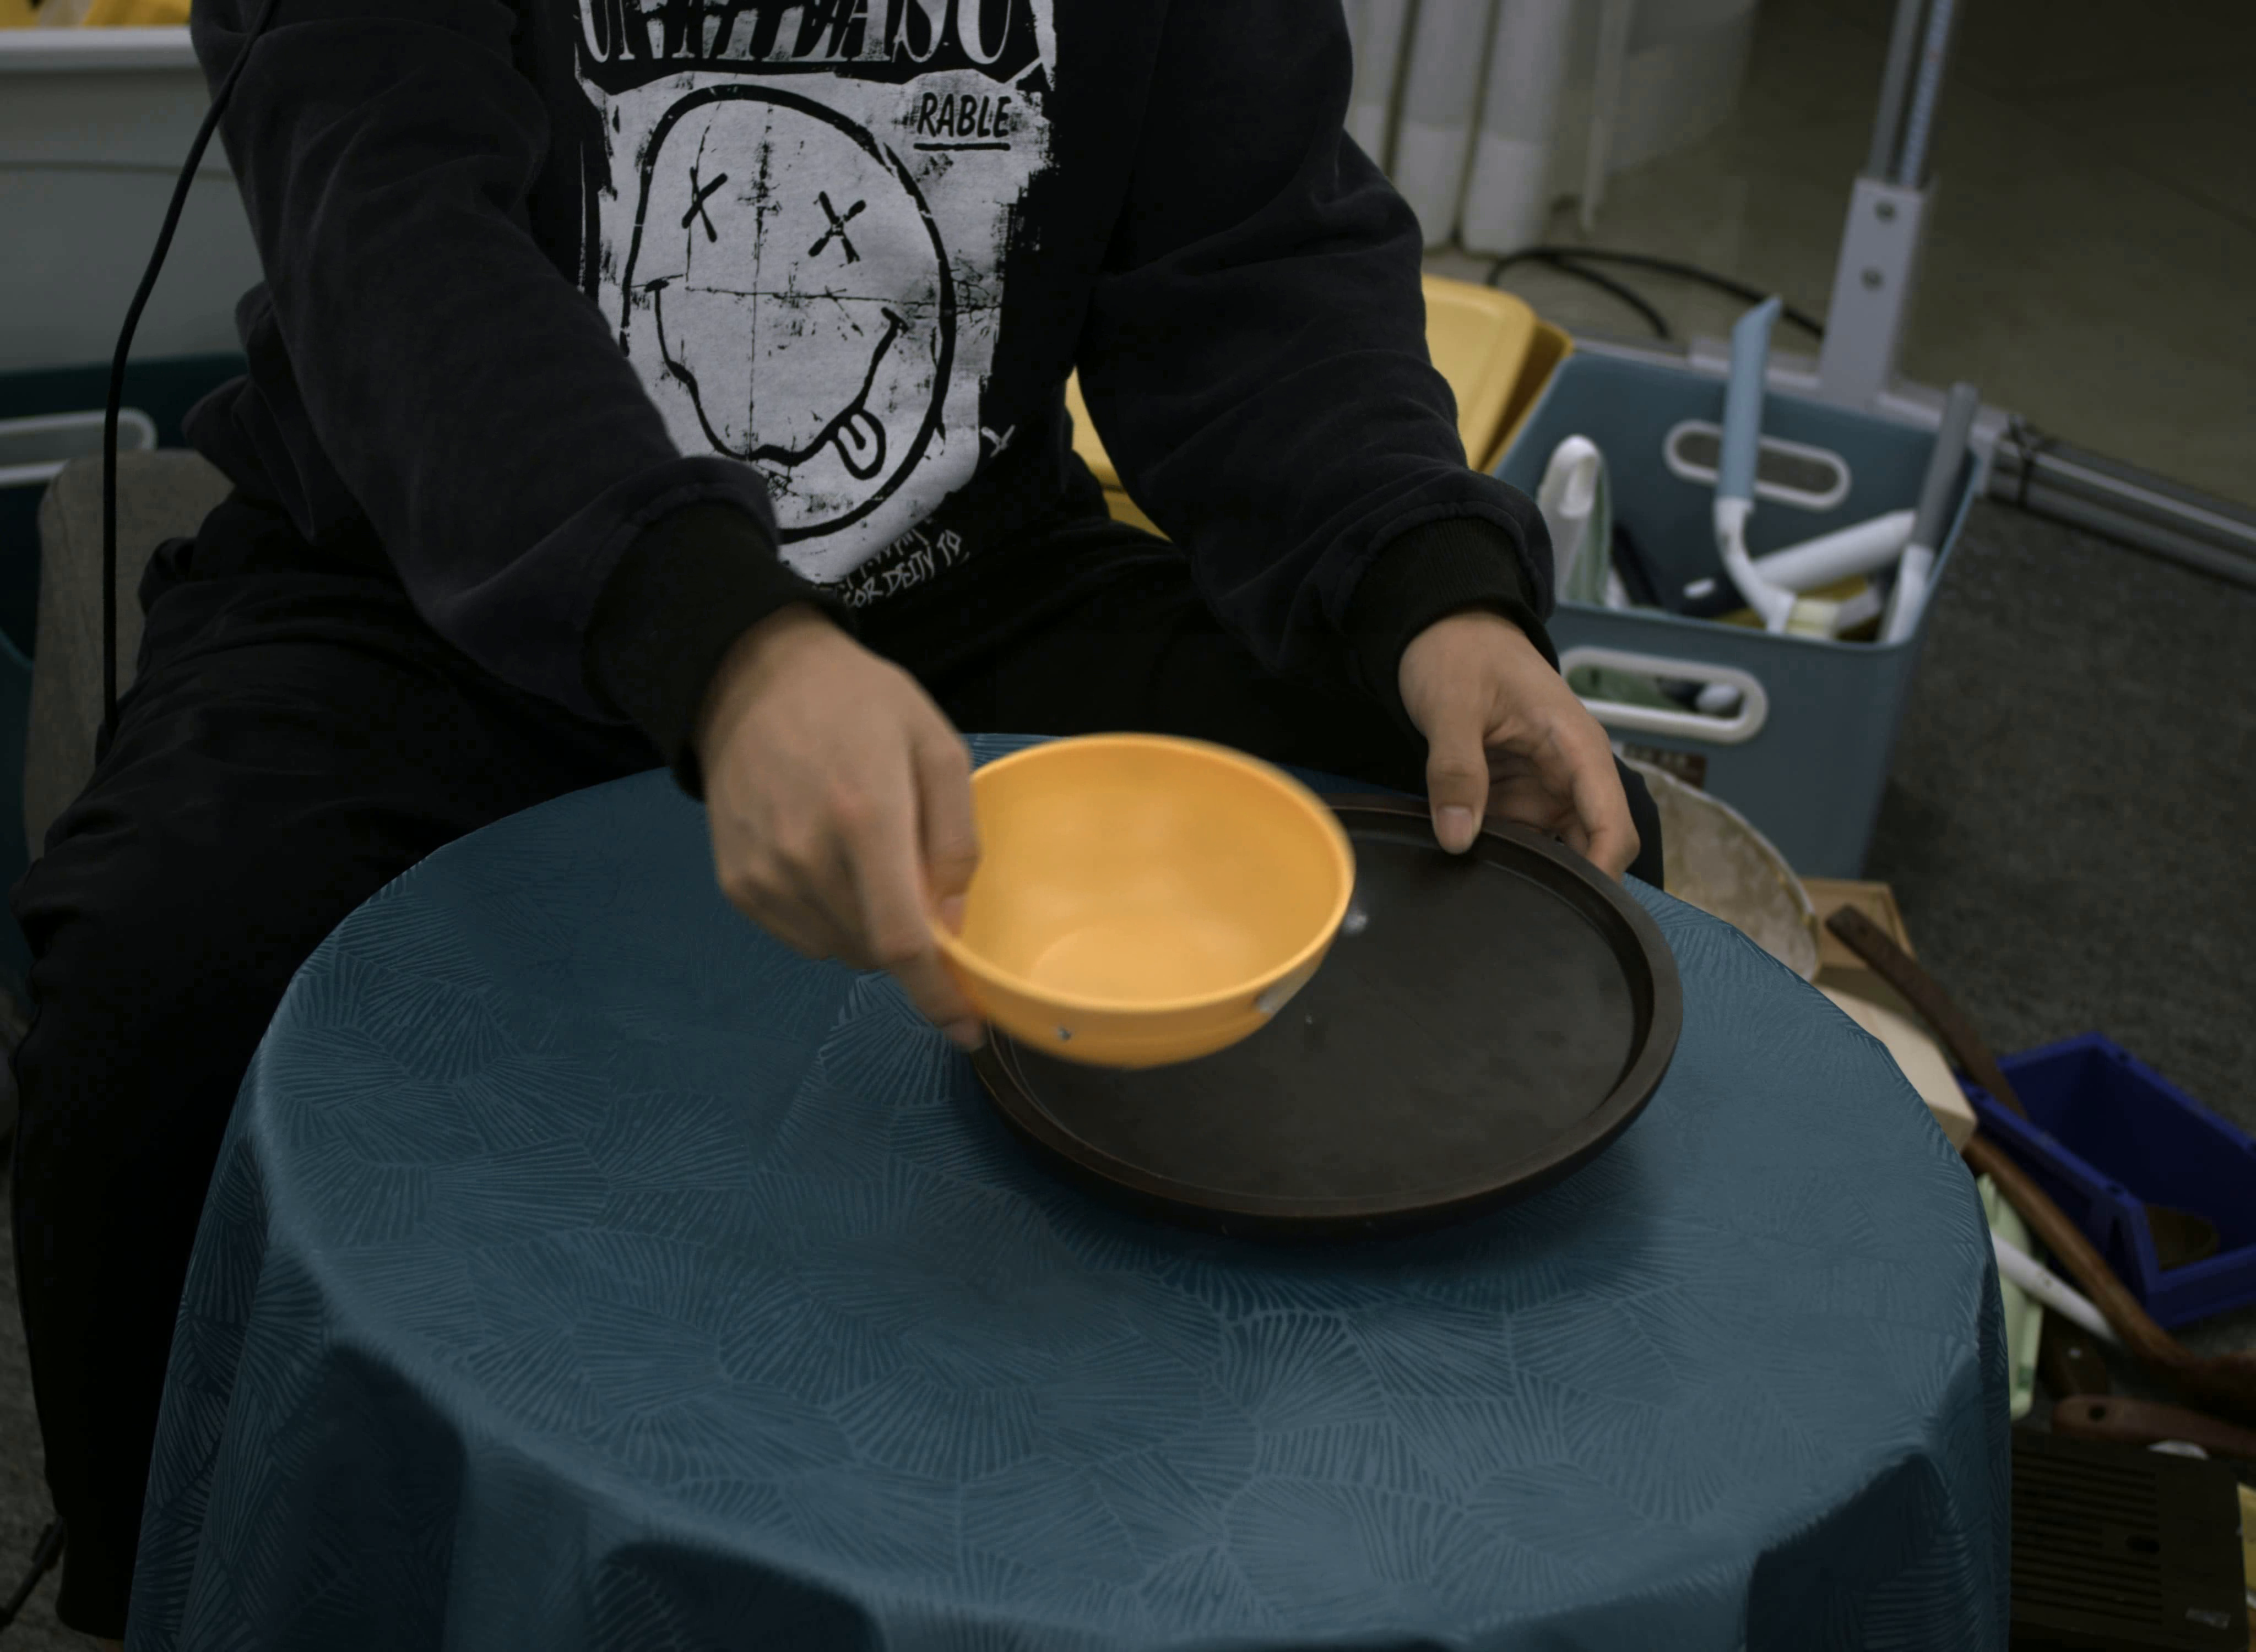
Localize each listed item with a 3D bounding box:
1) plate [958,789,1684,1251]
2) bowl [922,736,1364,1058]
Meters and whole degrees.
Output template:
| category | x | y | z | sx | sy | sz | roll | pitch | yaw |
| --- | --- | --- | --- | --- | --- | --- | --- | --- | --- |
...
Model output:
| category | x | y | z | sx | sy | sz | roll | pitch | yaw |
| --- | --- | --- | --- | --- | --- | --- | --- | --- | --- |
| plate | 0.067 | 0.066 | 1.859 | 0.254 | 0.029 | 0.256 | -4 | 34 | 2 |
| bowl | 0.004 | 0.034 | 1.738 | 0.145 | 0.060 | 0.146 | 0 | 35 | -1 |
